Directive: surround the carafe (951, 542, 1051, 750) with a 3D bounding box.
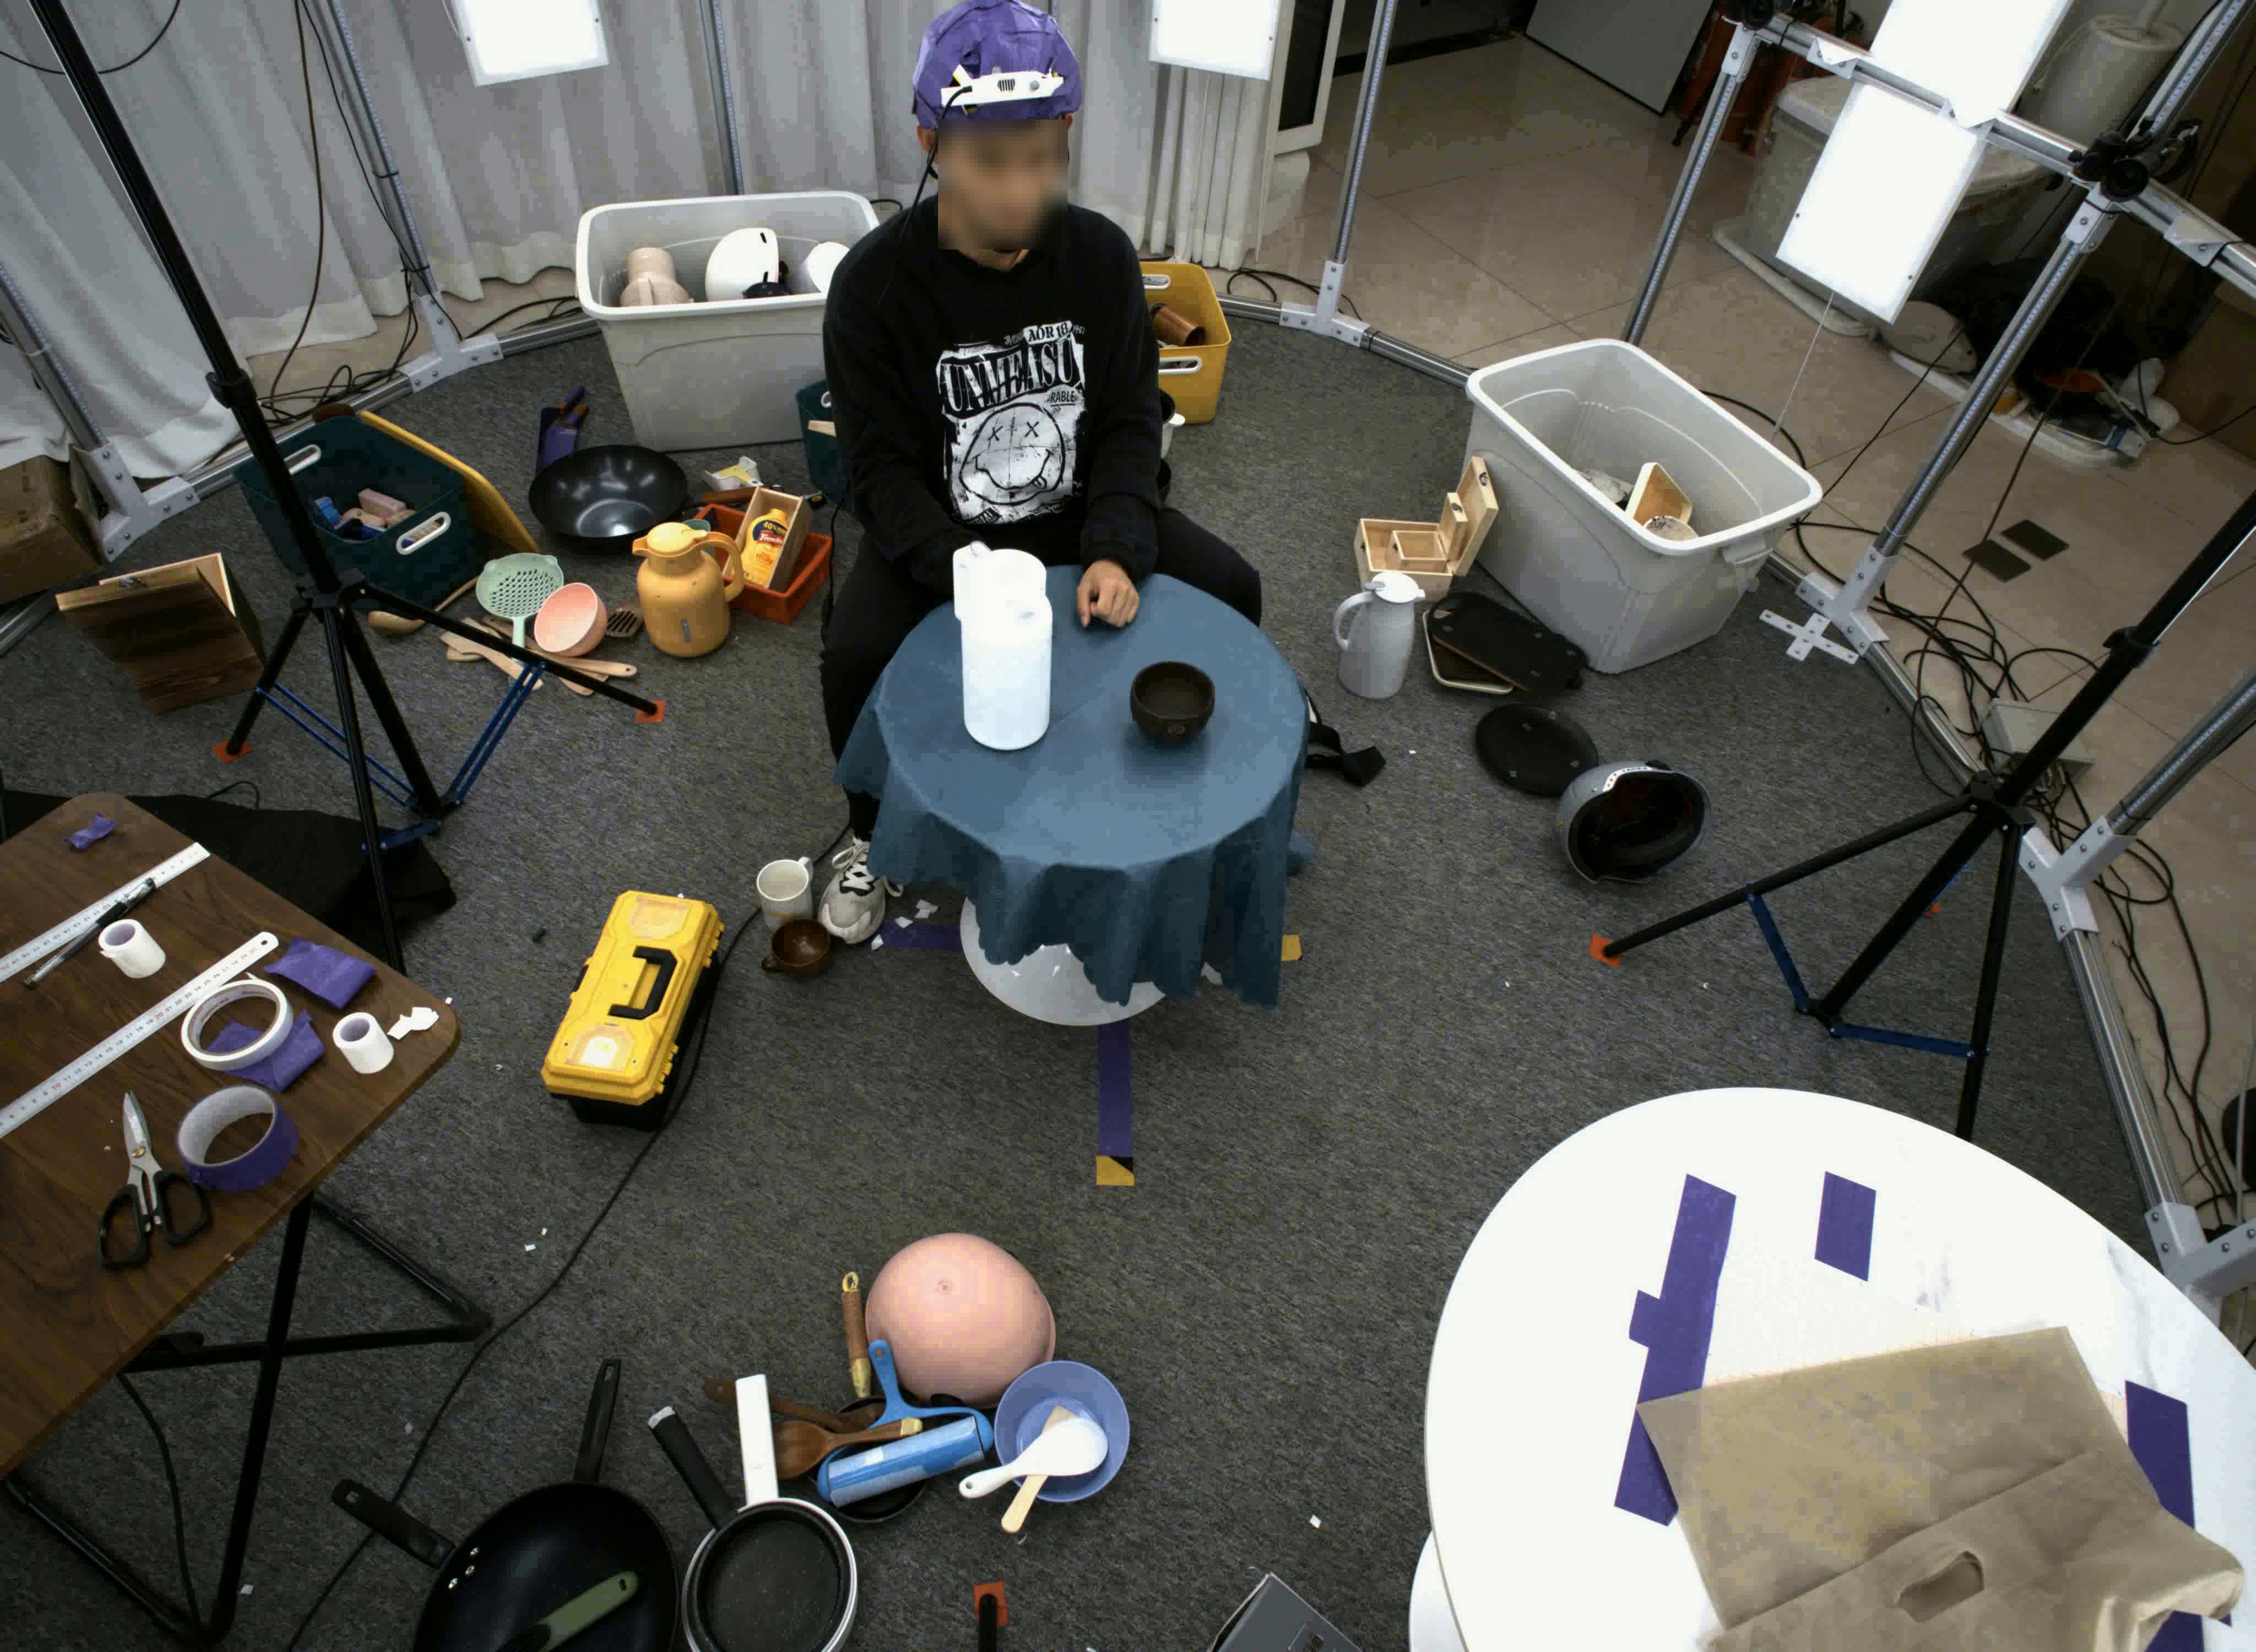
[{"bbox_3d":[-0.172,-0.238,1.694,0.124,0.262,0.176,-30,58,-24],"label":"carafe"}]

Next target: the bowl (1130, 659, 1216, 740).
[{"bbox_3d":[0.060,-0.166,1.769,0.118,0.068,0.121,1,49,-2],"label":"bowl"}]
